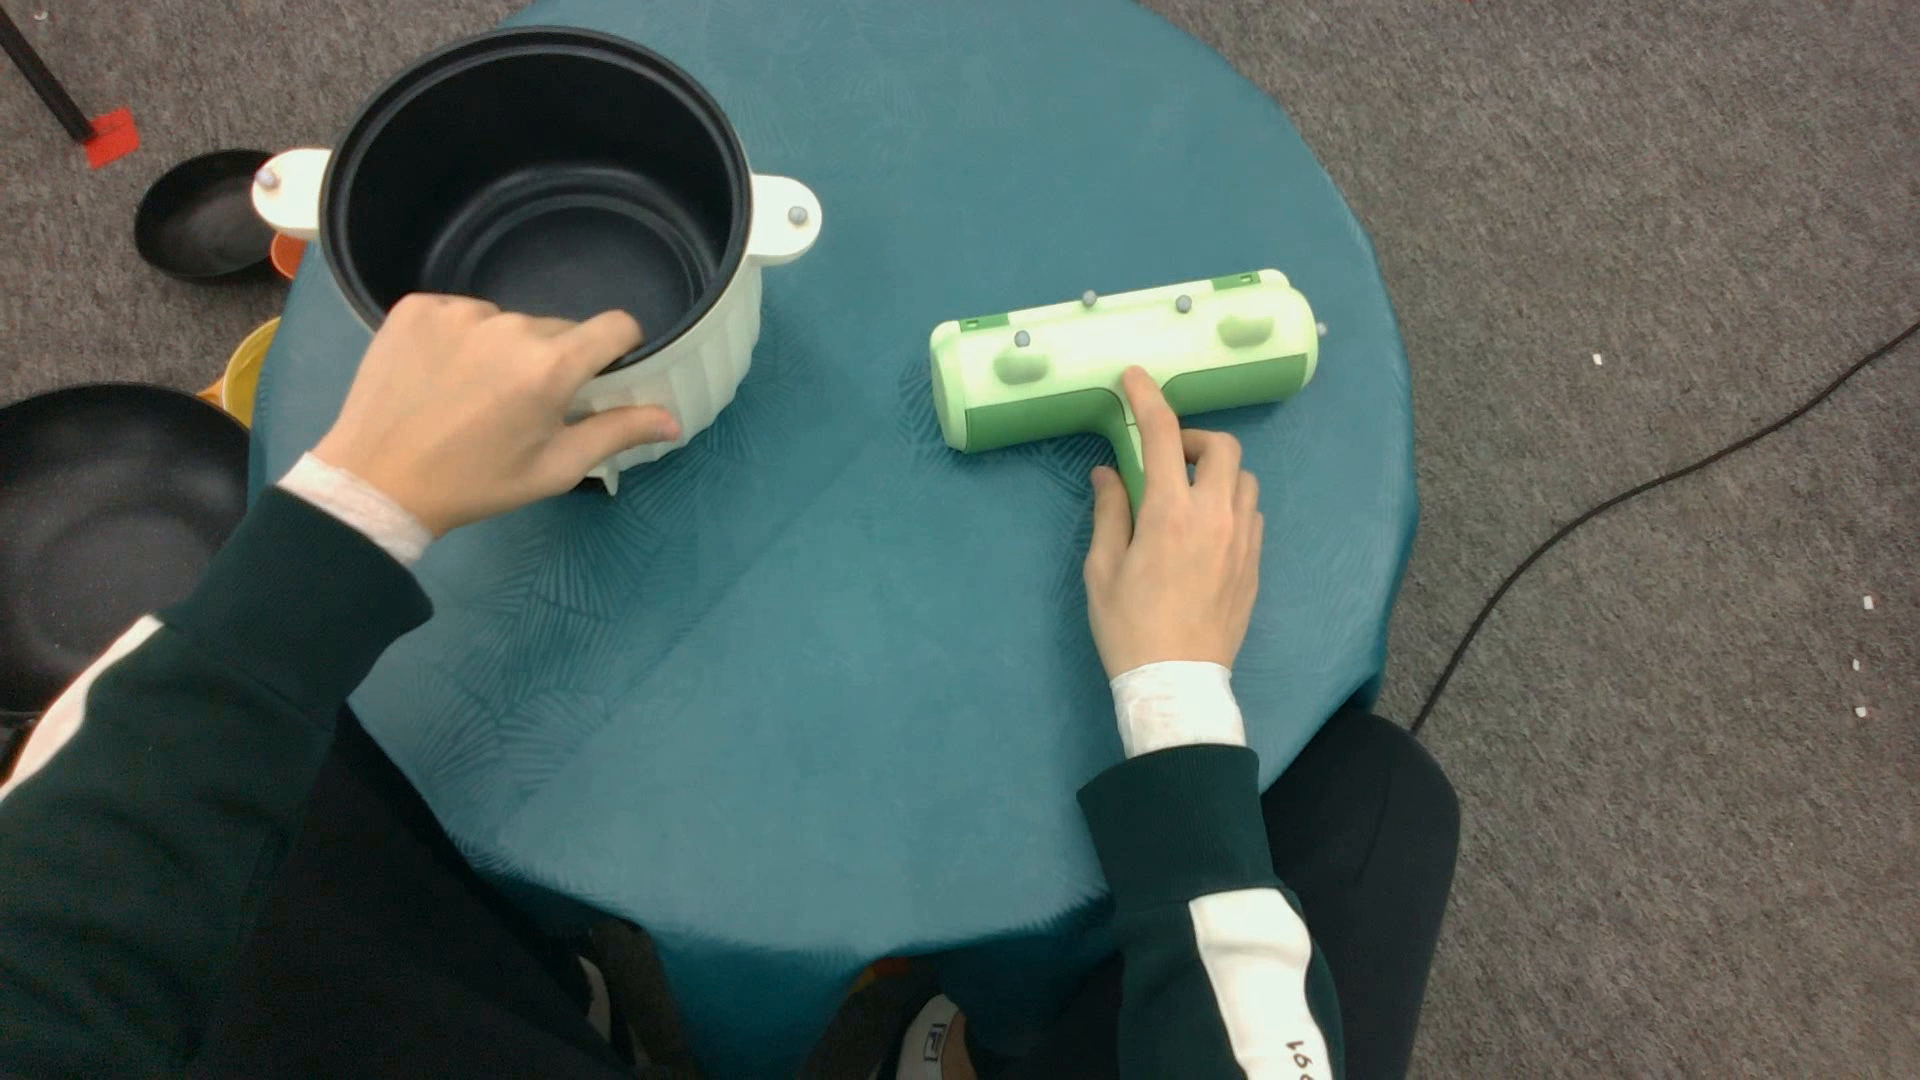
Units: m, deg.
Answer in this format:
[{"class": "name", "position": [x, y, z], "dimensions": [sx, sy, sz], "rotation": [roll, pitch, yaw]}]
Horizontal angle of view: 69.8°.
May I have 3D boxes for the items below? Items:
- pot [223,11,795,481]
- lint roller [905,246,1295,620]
[{"class": "pot", "position": [-0.198, -0.137, 0.653], "dimensions": [0.240, 0.142, 0.191], "rotation": [0, 73, -7]}, {"class": "lint roller", "position": [0.086, -0.056, 0.679], "dimensions": [0.199, 0.082, 0.184], "rotation": [-11, 66, -9]}]
